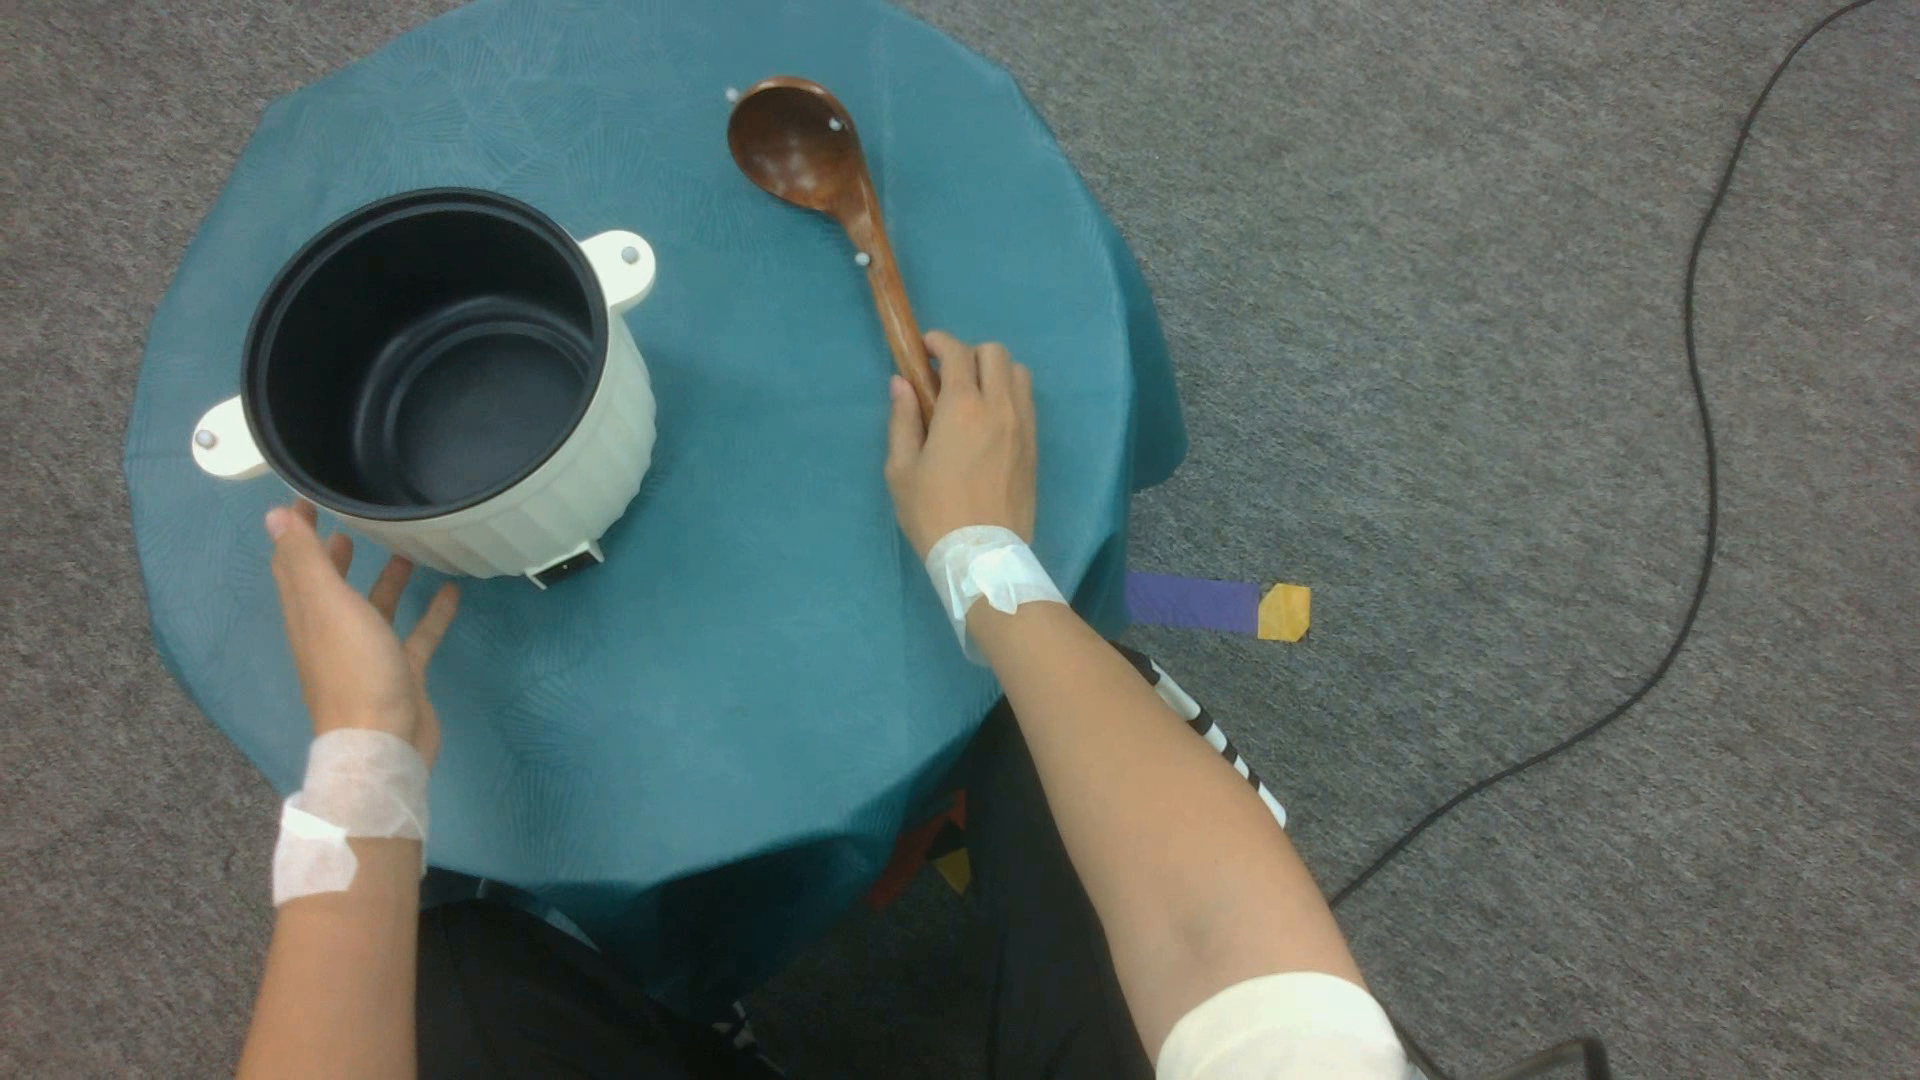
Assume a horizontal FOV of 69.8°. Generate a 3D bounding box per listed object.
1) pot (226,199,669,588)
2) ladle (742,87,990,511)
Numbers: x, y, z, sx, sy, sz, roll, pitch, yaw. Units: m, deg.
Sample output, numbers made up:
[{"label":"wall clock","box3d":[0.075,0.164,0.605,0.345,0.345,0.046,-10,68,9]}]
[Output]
[{"label":"pot","box3d":[-0.258,-0.076,0.757,0.240,0.142,0.191,-26,75,-7]},{"label":"ladle","box3d":[-0.057,-0.142,0.801,0.077,0.081,0.274,-5,67,-38]}]
